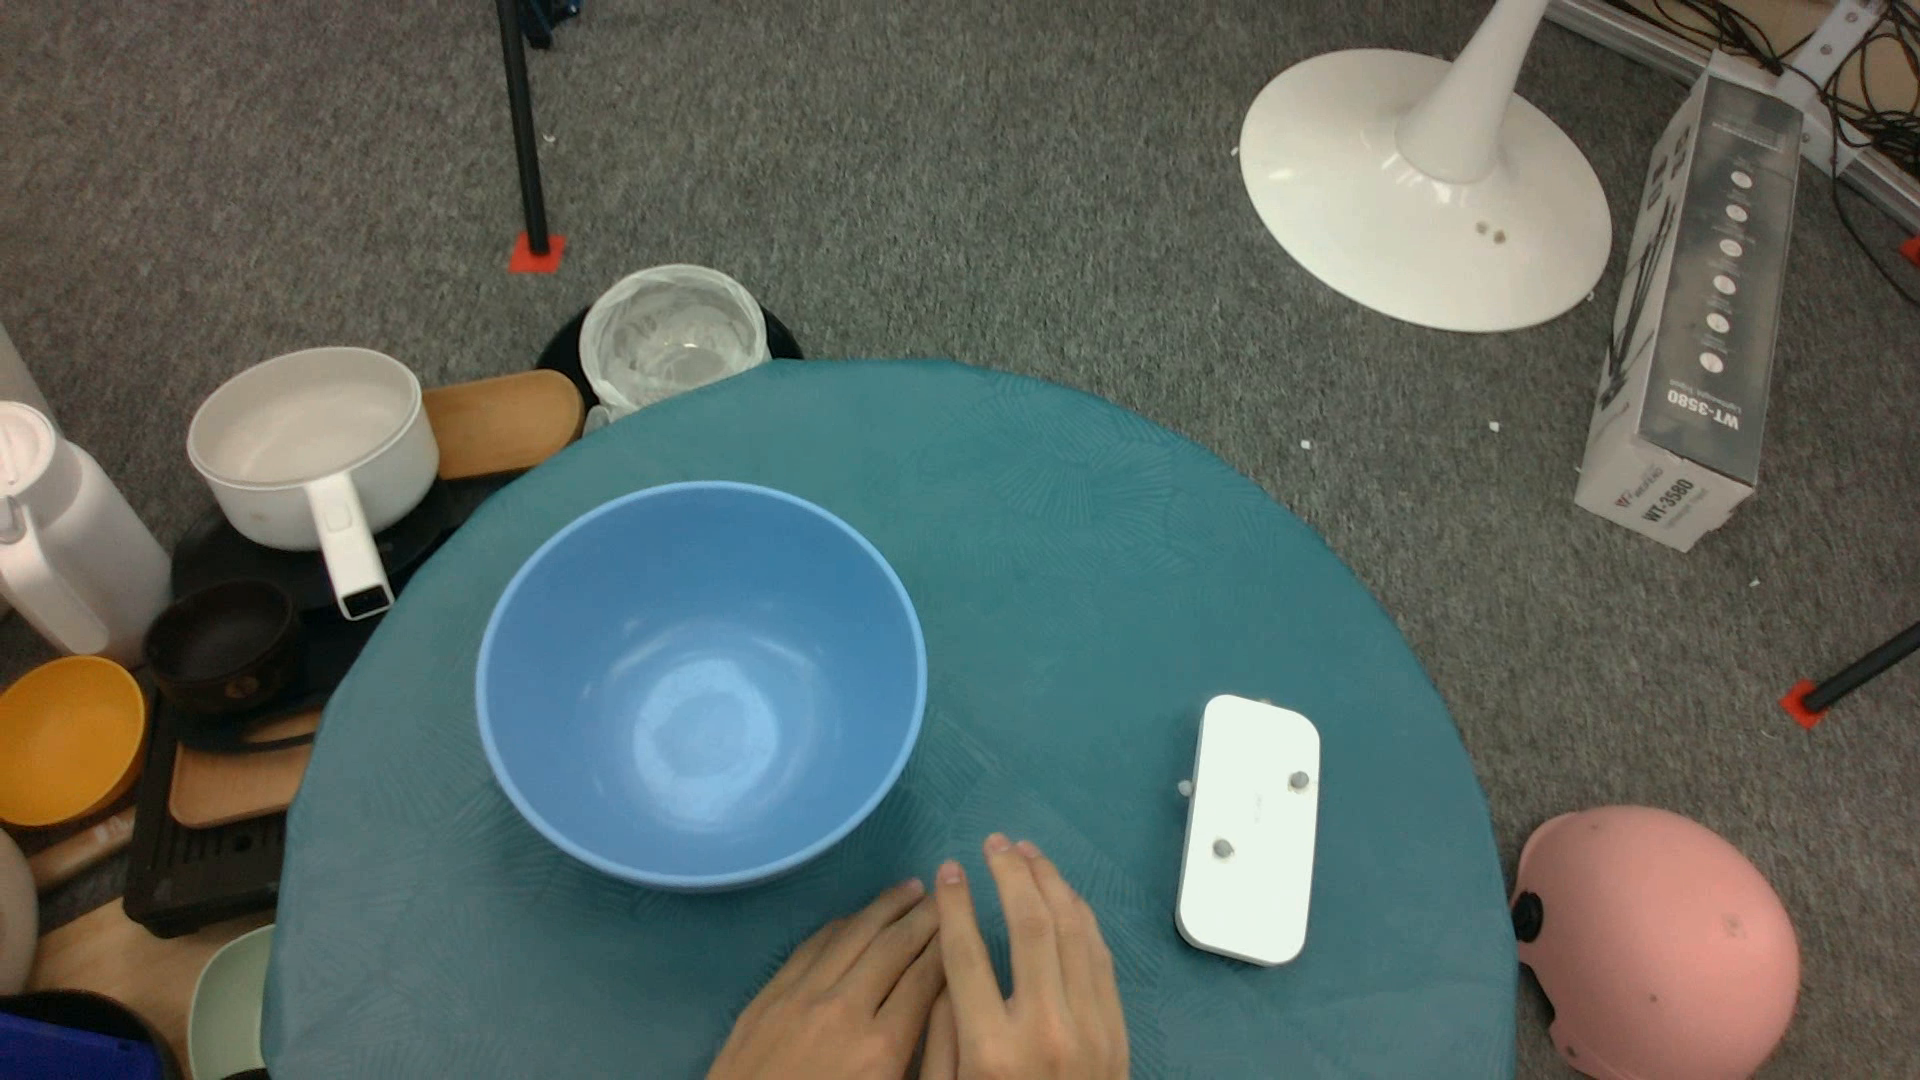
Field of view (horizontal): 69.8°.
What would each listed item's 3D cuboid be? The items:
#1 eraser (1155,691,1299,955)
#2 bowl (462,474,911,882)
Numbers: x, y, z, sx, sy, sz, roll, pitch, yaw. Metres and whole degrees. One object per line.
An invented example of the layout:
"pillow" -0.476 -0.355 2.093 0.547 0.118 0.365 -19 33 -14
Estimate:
"eraser" 0.133 0.140 0.693 0.063 0.034 0.132 14 57 1
"bowl" -0.126 0.076 0.652 0.196 0.095 0.197 5 58 -8
